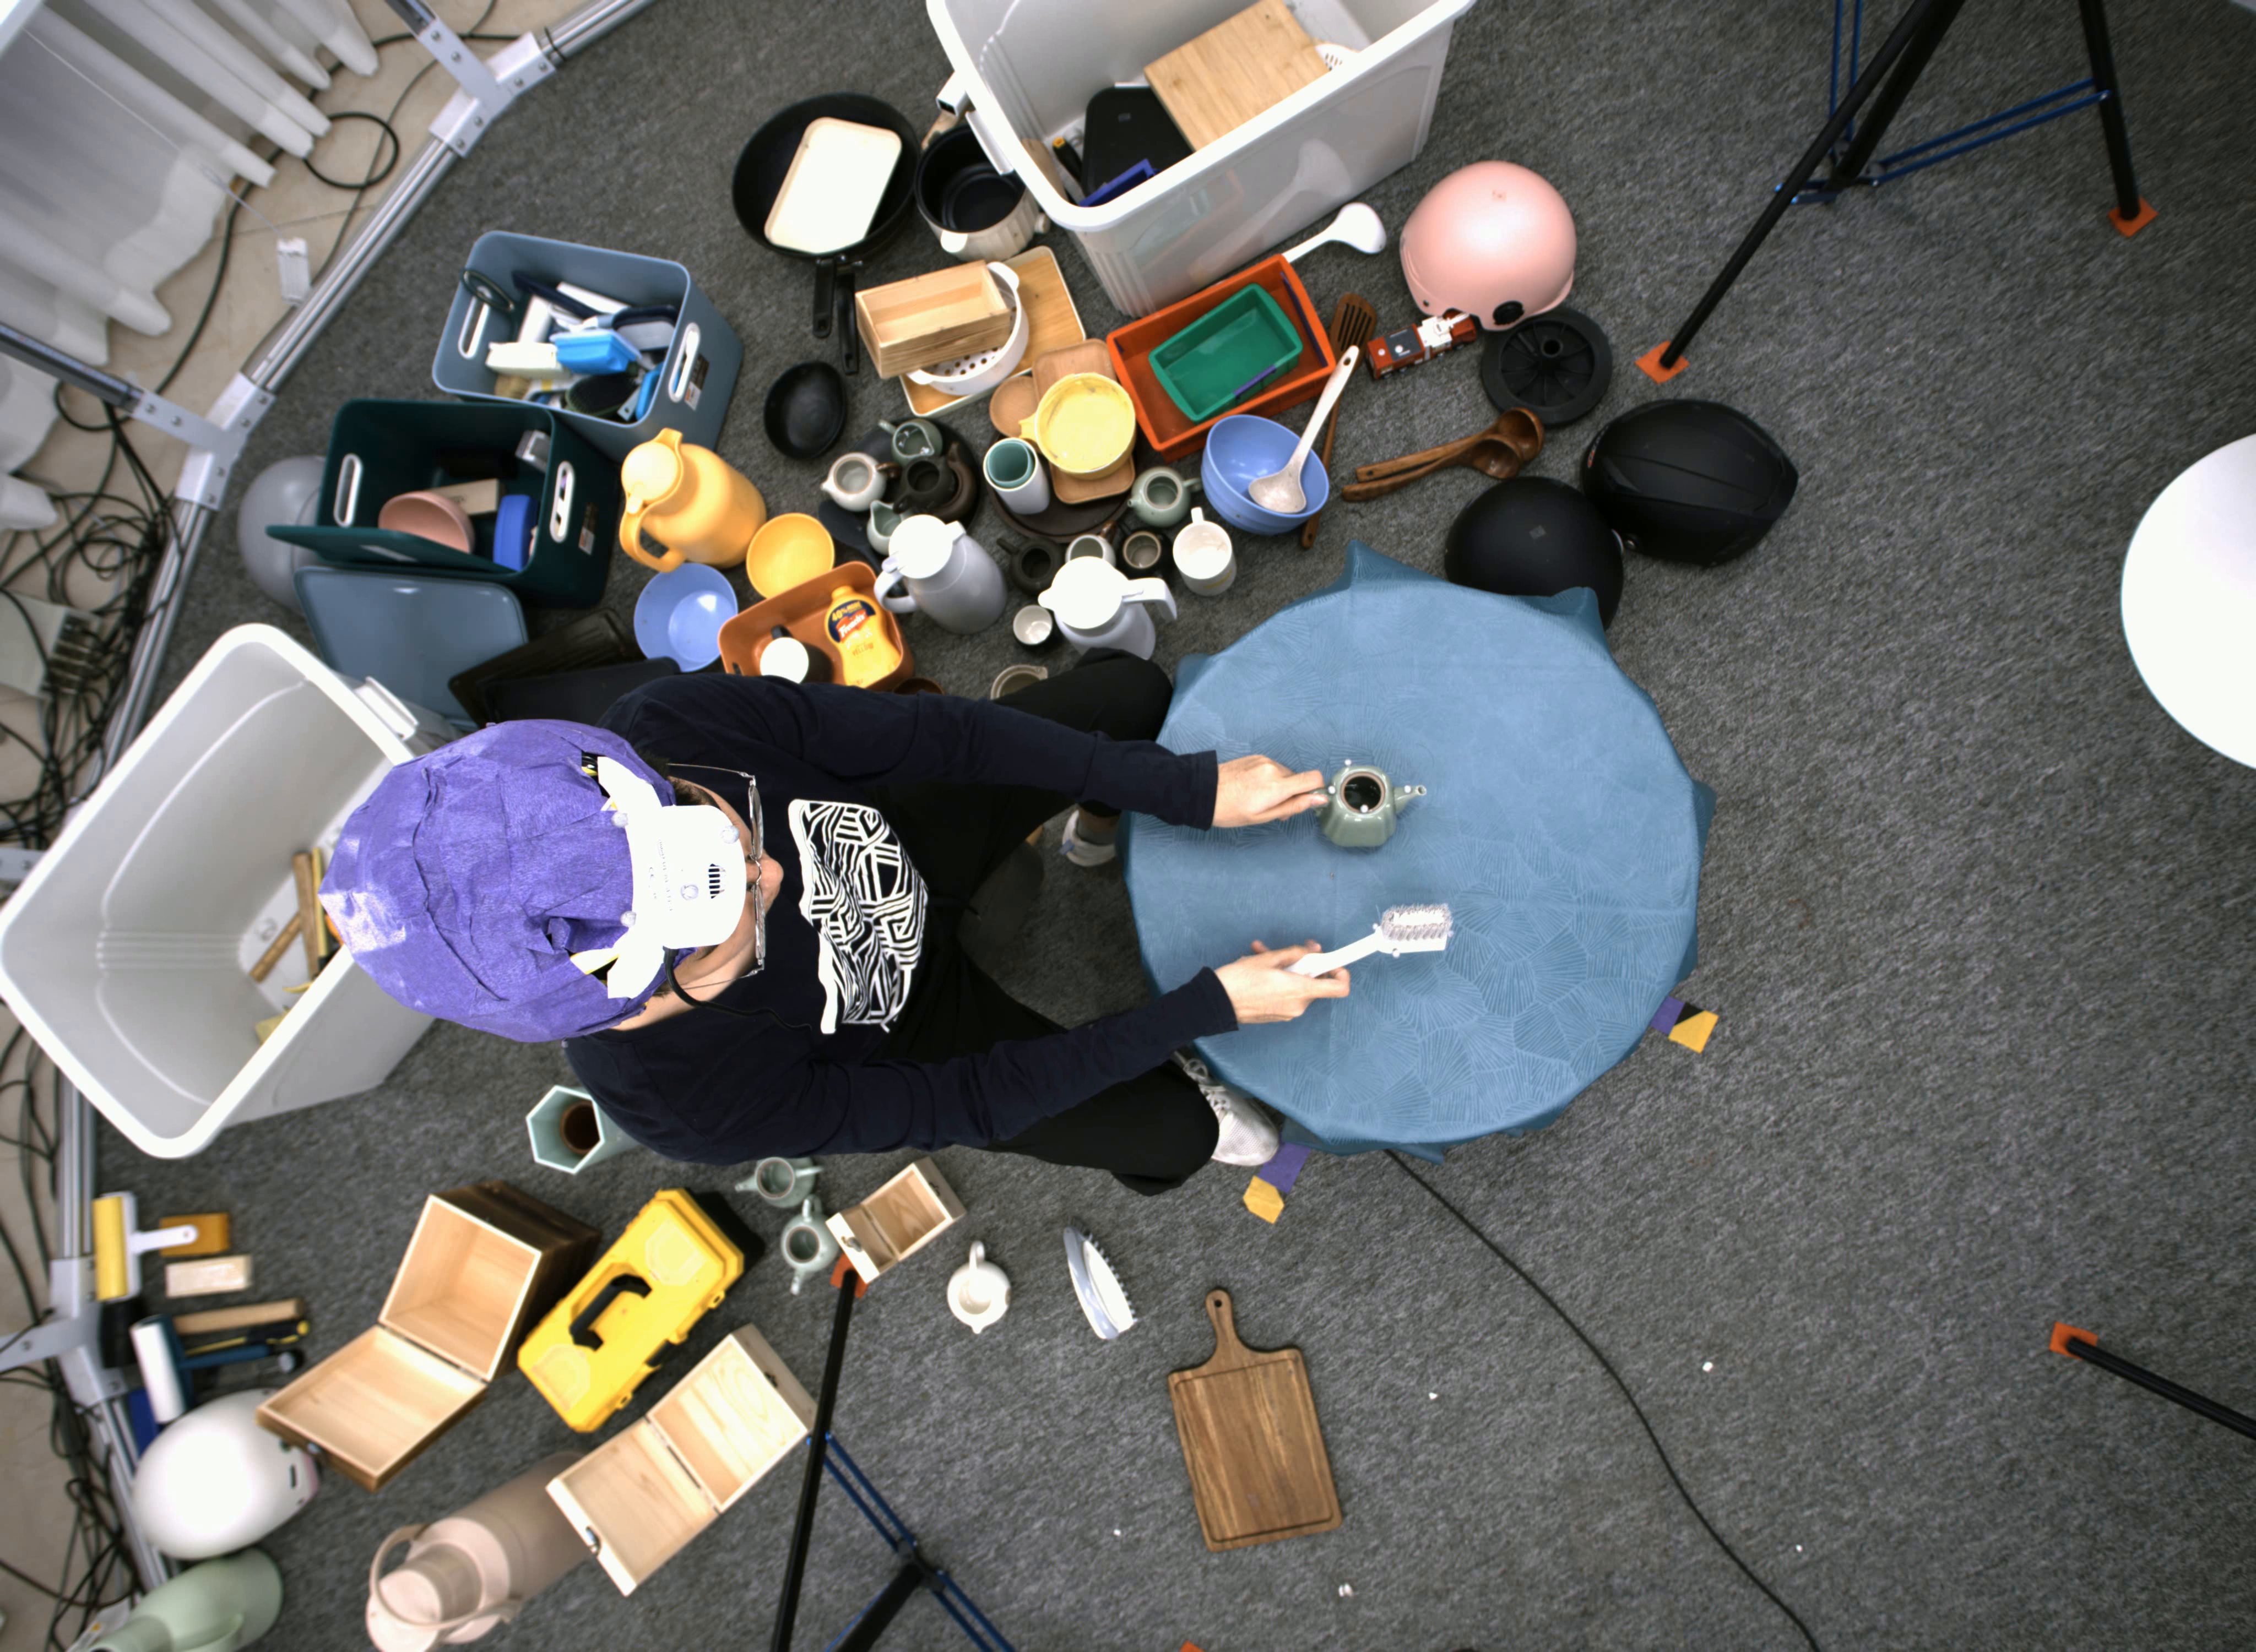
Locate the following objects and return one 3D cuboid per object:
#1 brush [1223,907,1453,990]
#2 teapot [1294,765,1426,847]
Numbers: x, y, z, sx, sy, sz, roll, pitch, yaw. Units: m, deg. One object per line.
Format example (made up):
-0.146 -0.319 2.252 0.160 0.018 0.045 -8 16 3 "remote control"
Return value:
0.207 0.123 1.398 0.246 0.051 0.033 -14 50 17 "brush"
0.237 -0.025 1.426 0.133 0.076 0.078 -2 70 4 "teapot"
